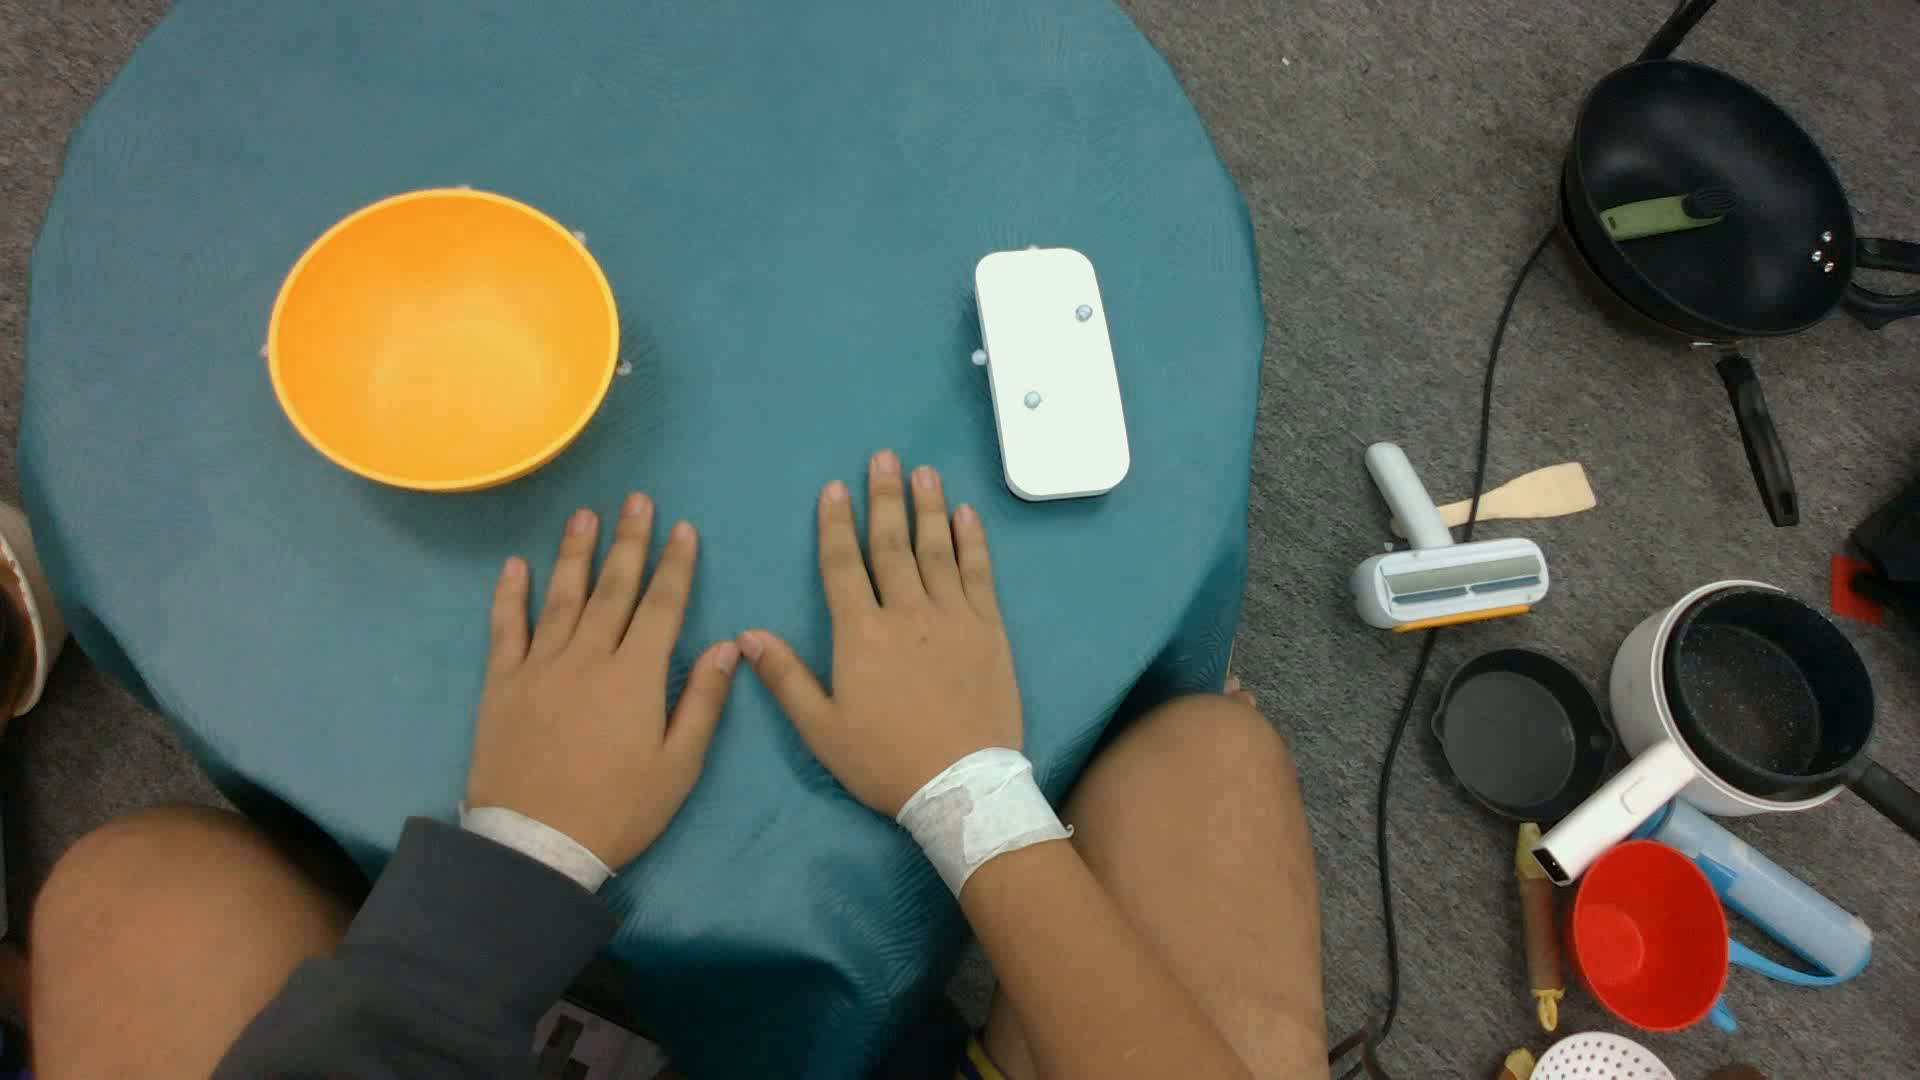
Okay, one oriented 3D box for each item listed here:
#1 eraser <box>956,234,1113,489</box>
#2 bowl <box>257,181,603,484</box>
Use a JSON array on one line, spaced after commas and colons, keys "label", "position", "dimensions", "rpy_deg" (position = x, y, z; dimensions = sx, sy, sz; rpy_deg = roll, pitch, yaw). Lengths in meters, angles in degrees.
[{"label": "eraser", "position": [0.034, -0.090, 0.680], "dimensions": [0.063, 0.034, 0.131], "rpy_deg": [-5, 72, -10]}, {"label": "bowl", "position": [-0.233, -0.085, 0.627], "dimensions": [0.145, 0.060, 0.145], "rpy_deg": [2, 73, -7]}]
